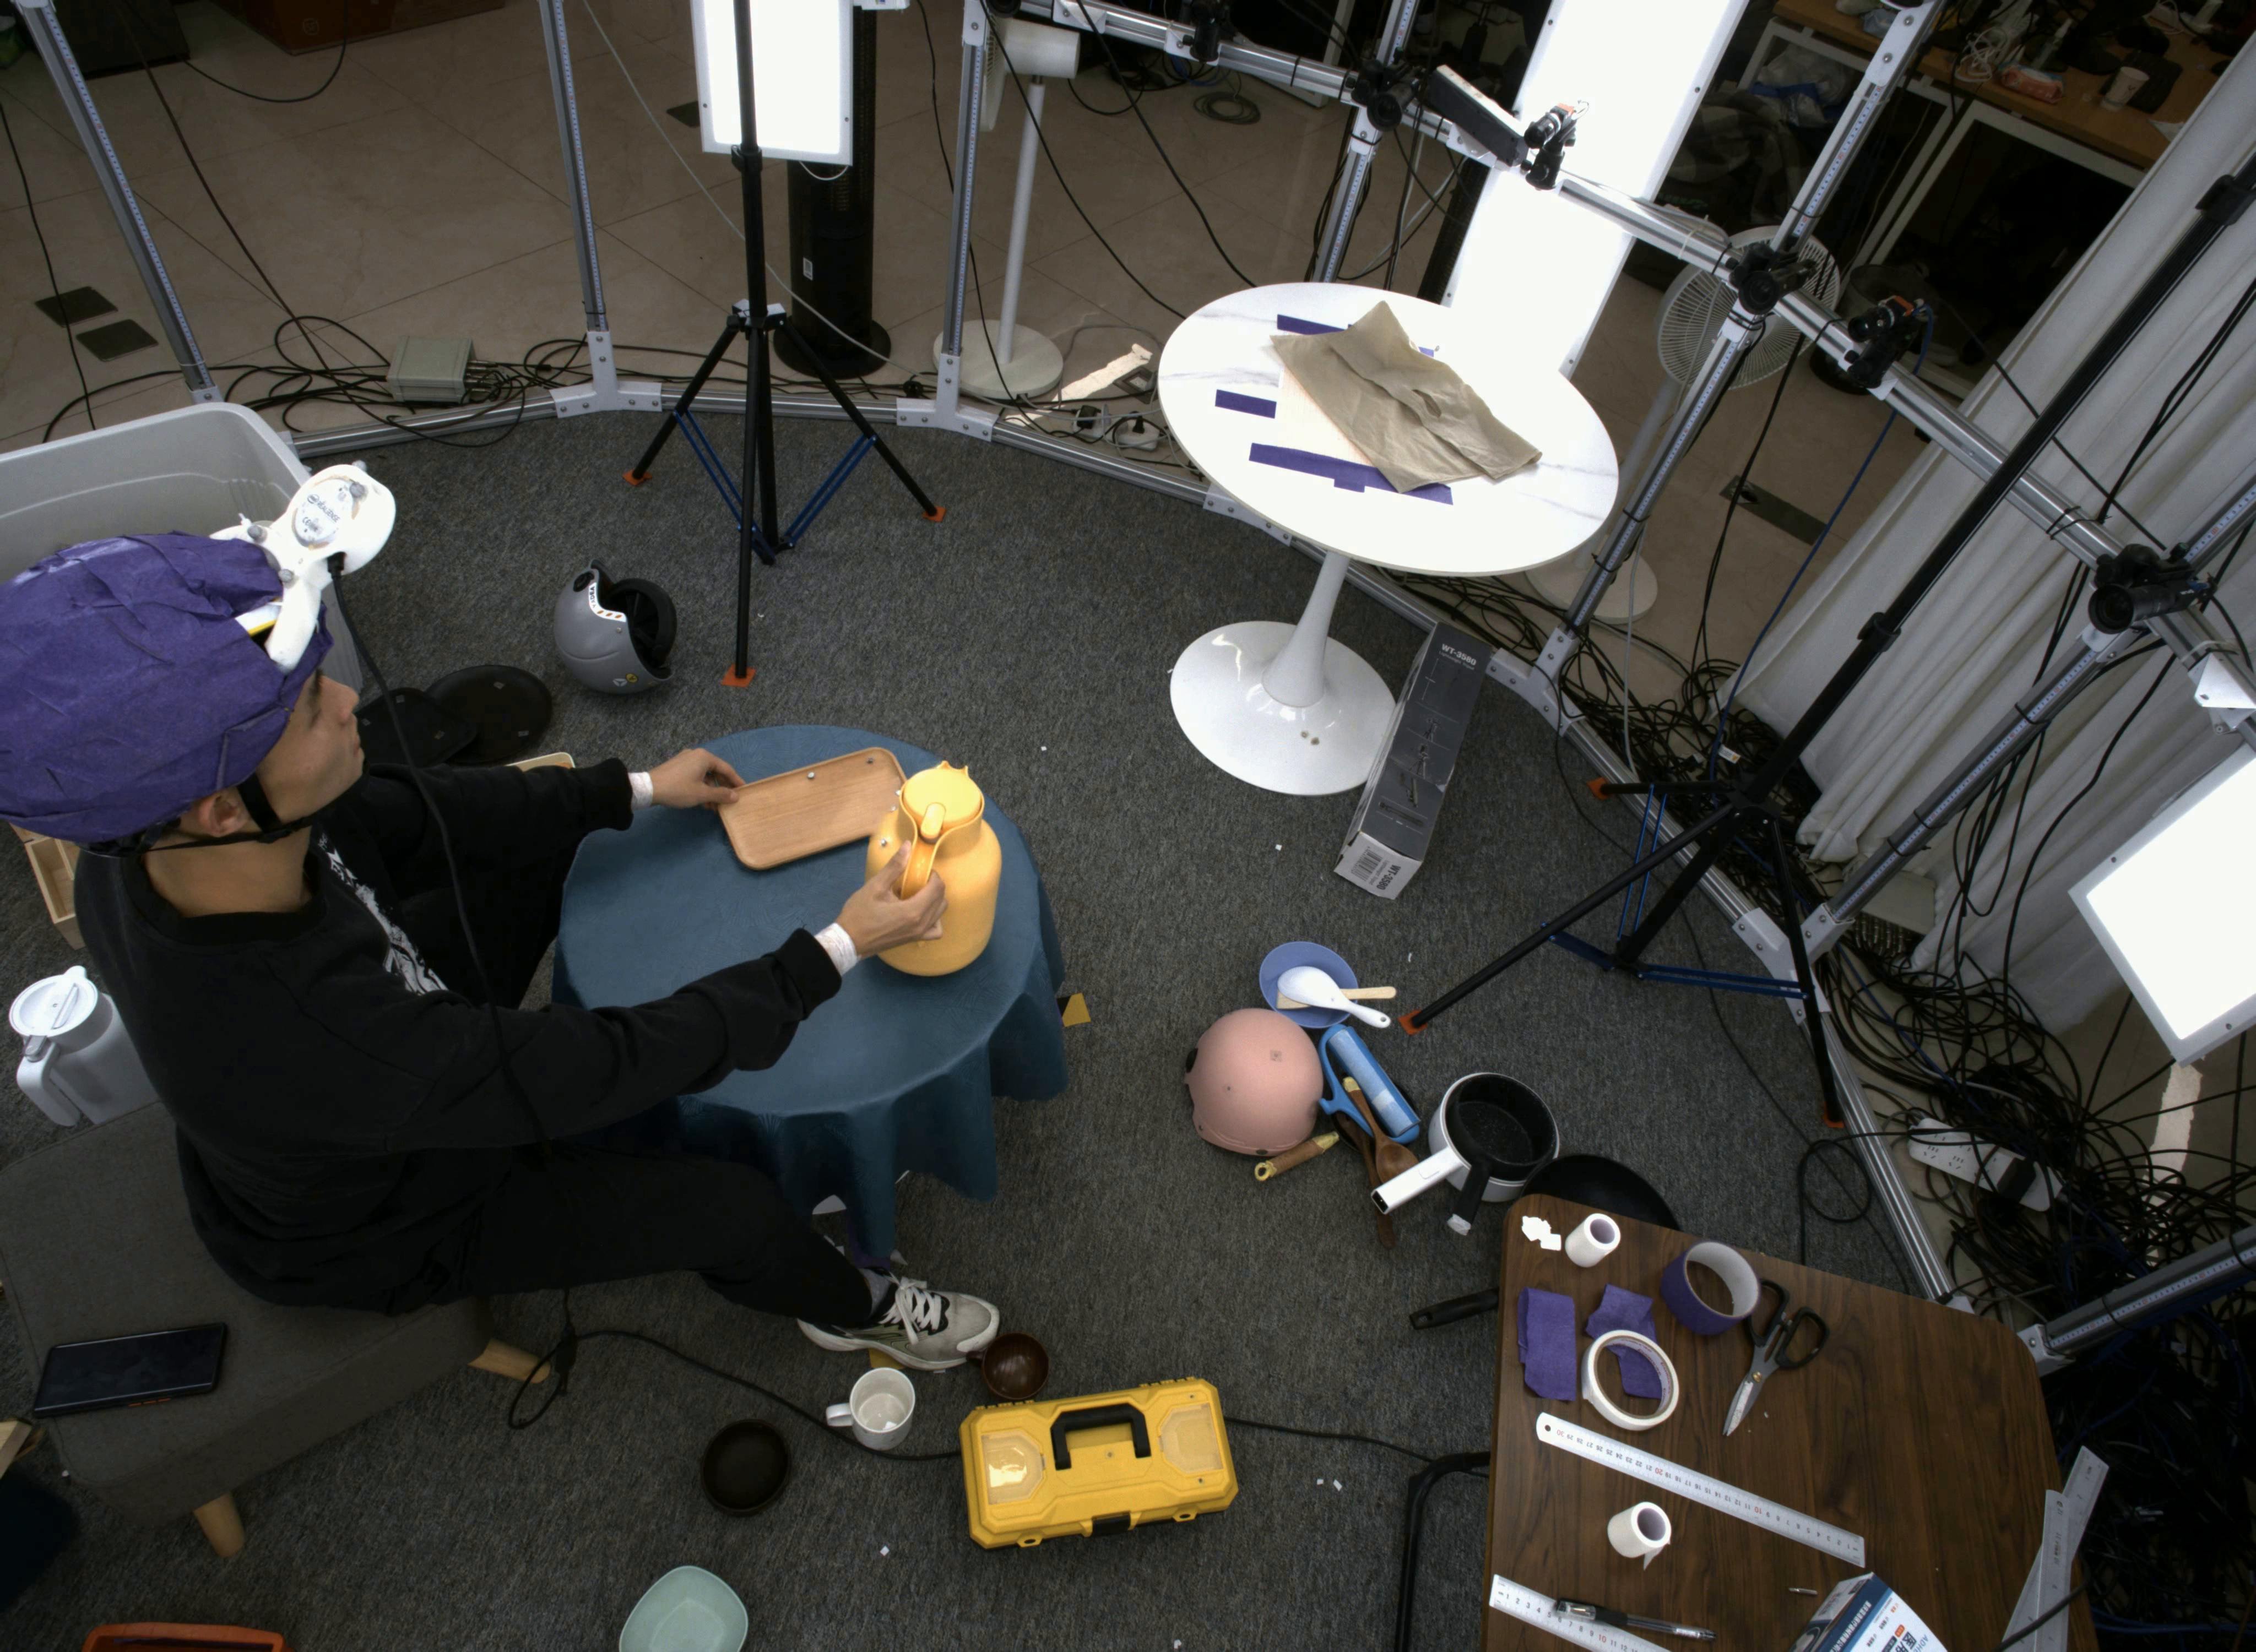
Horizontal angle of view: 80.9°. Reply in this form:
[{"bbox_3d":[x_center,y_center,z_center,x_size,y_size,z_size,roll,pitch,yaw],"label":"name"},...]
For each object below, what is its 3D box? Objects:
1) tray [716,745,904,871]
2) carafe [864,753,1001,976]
[{"bbox_3d":[-0.412,-0.026,1.723,0.252,0.023,0.128,-19,66,-25],"label":"tray"},{"bbox_3d":[-0.237,0.056,1.543,0.161,0.267,0.199,12,42,2],"label":"carafe"}]
